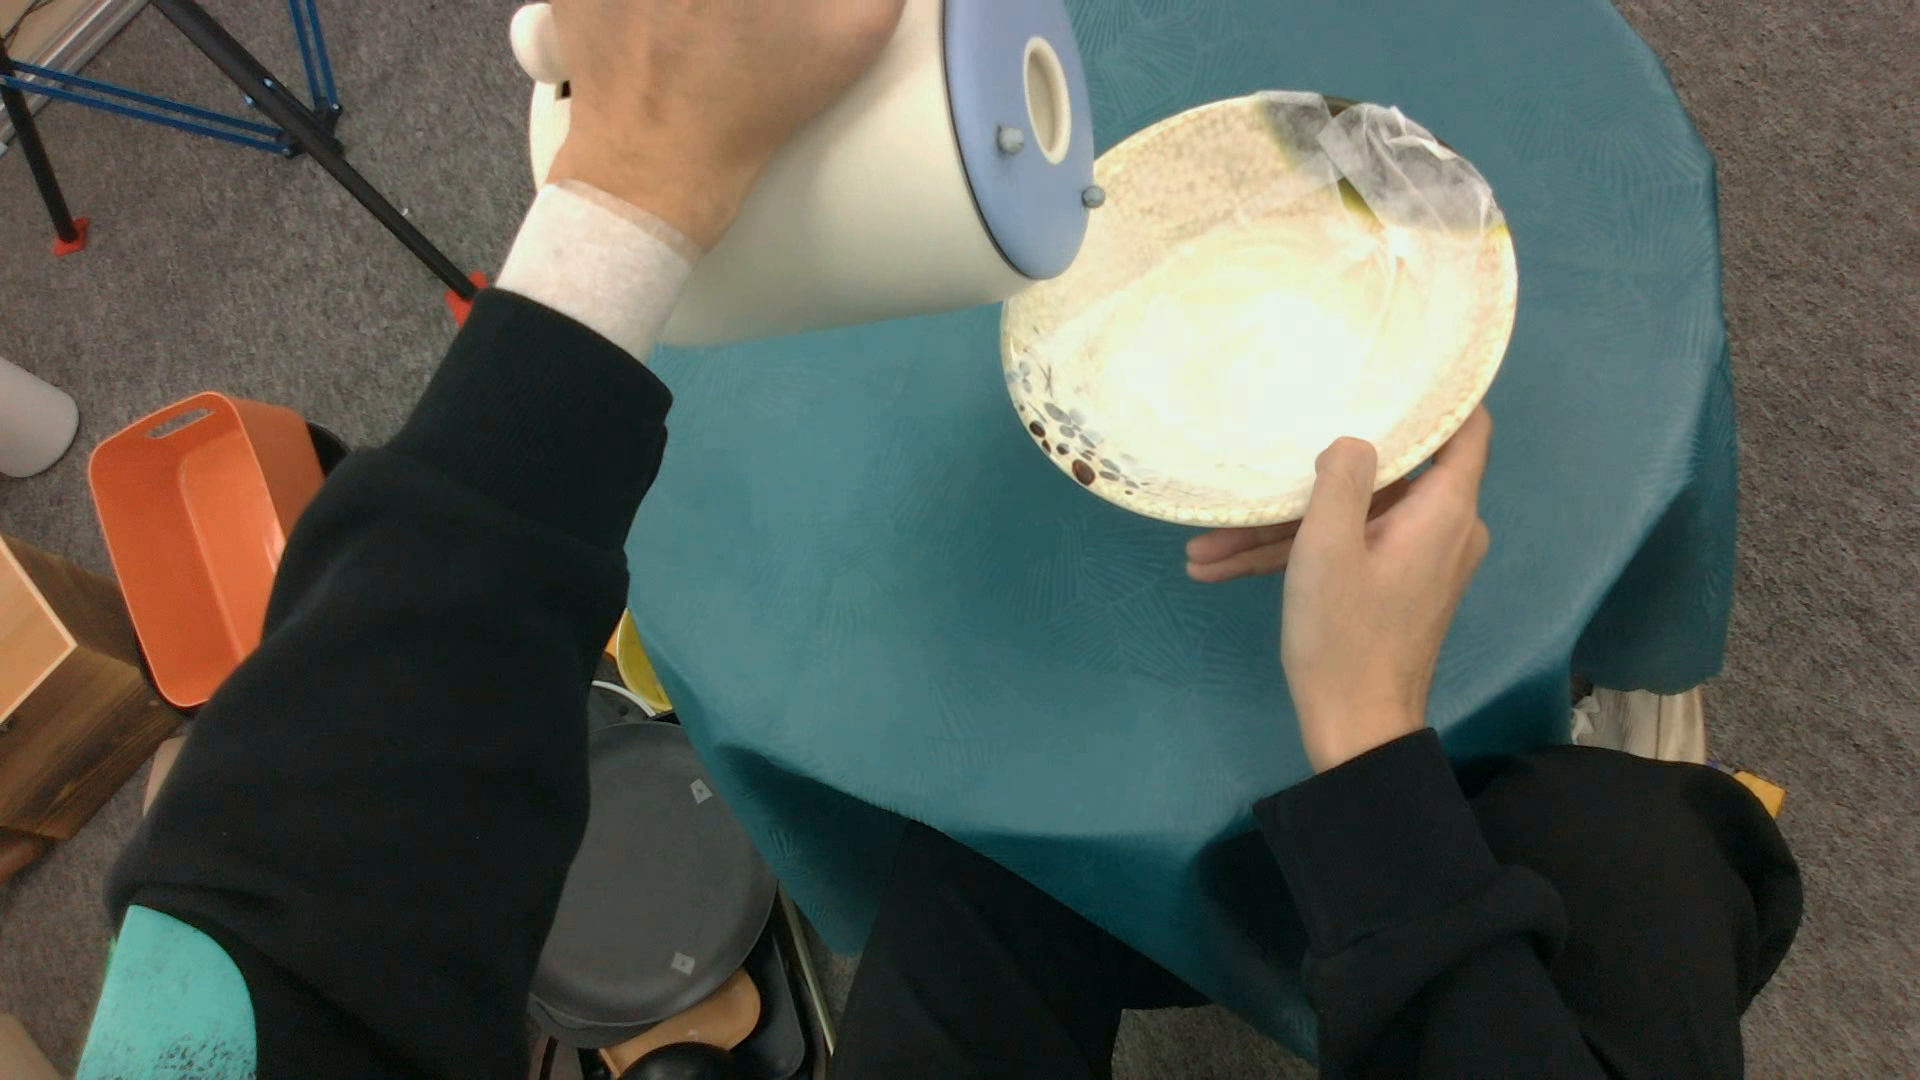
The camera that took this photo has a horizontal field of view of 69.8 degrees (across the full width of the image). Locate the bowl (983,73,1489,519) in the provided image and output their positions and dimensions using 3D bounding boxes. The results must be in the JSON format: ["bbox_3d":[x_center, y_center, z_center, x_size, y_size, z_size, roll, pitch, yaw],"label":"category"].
[{"bbox_3d":[0.117,-0.093,0.591,0.203,0.078,0.204,-6,69,16],"label":"bowl"}]

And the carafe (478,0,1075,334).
[{"bbox_3d":[-0.069,-0.157,0.491,0.182,0.191,0.132,-5,73,26],"label":"carafe"}]
